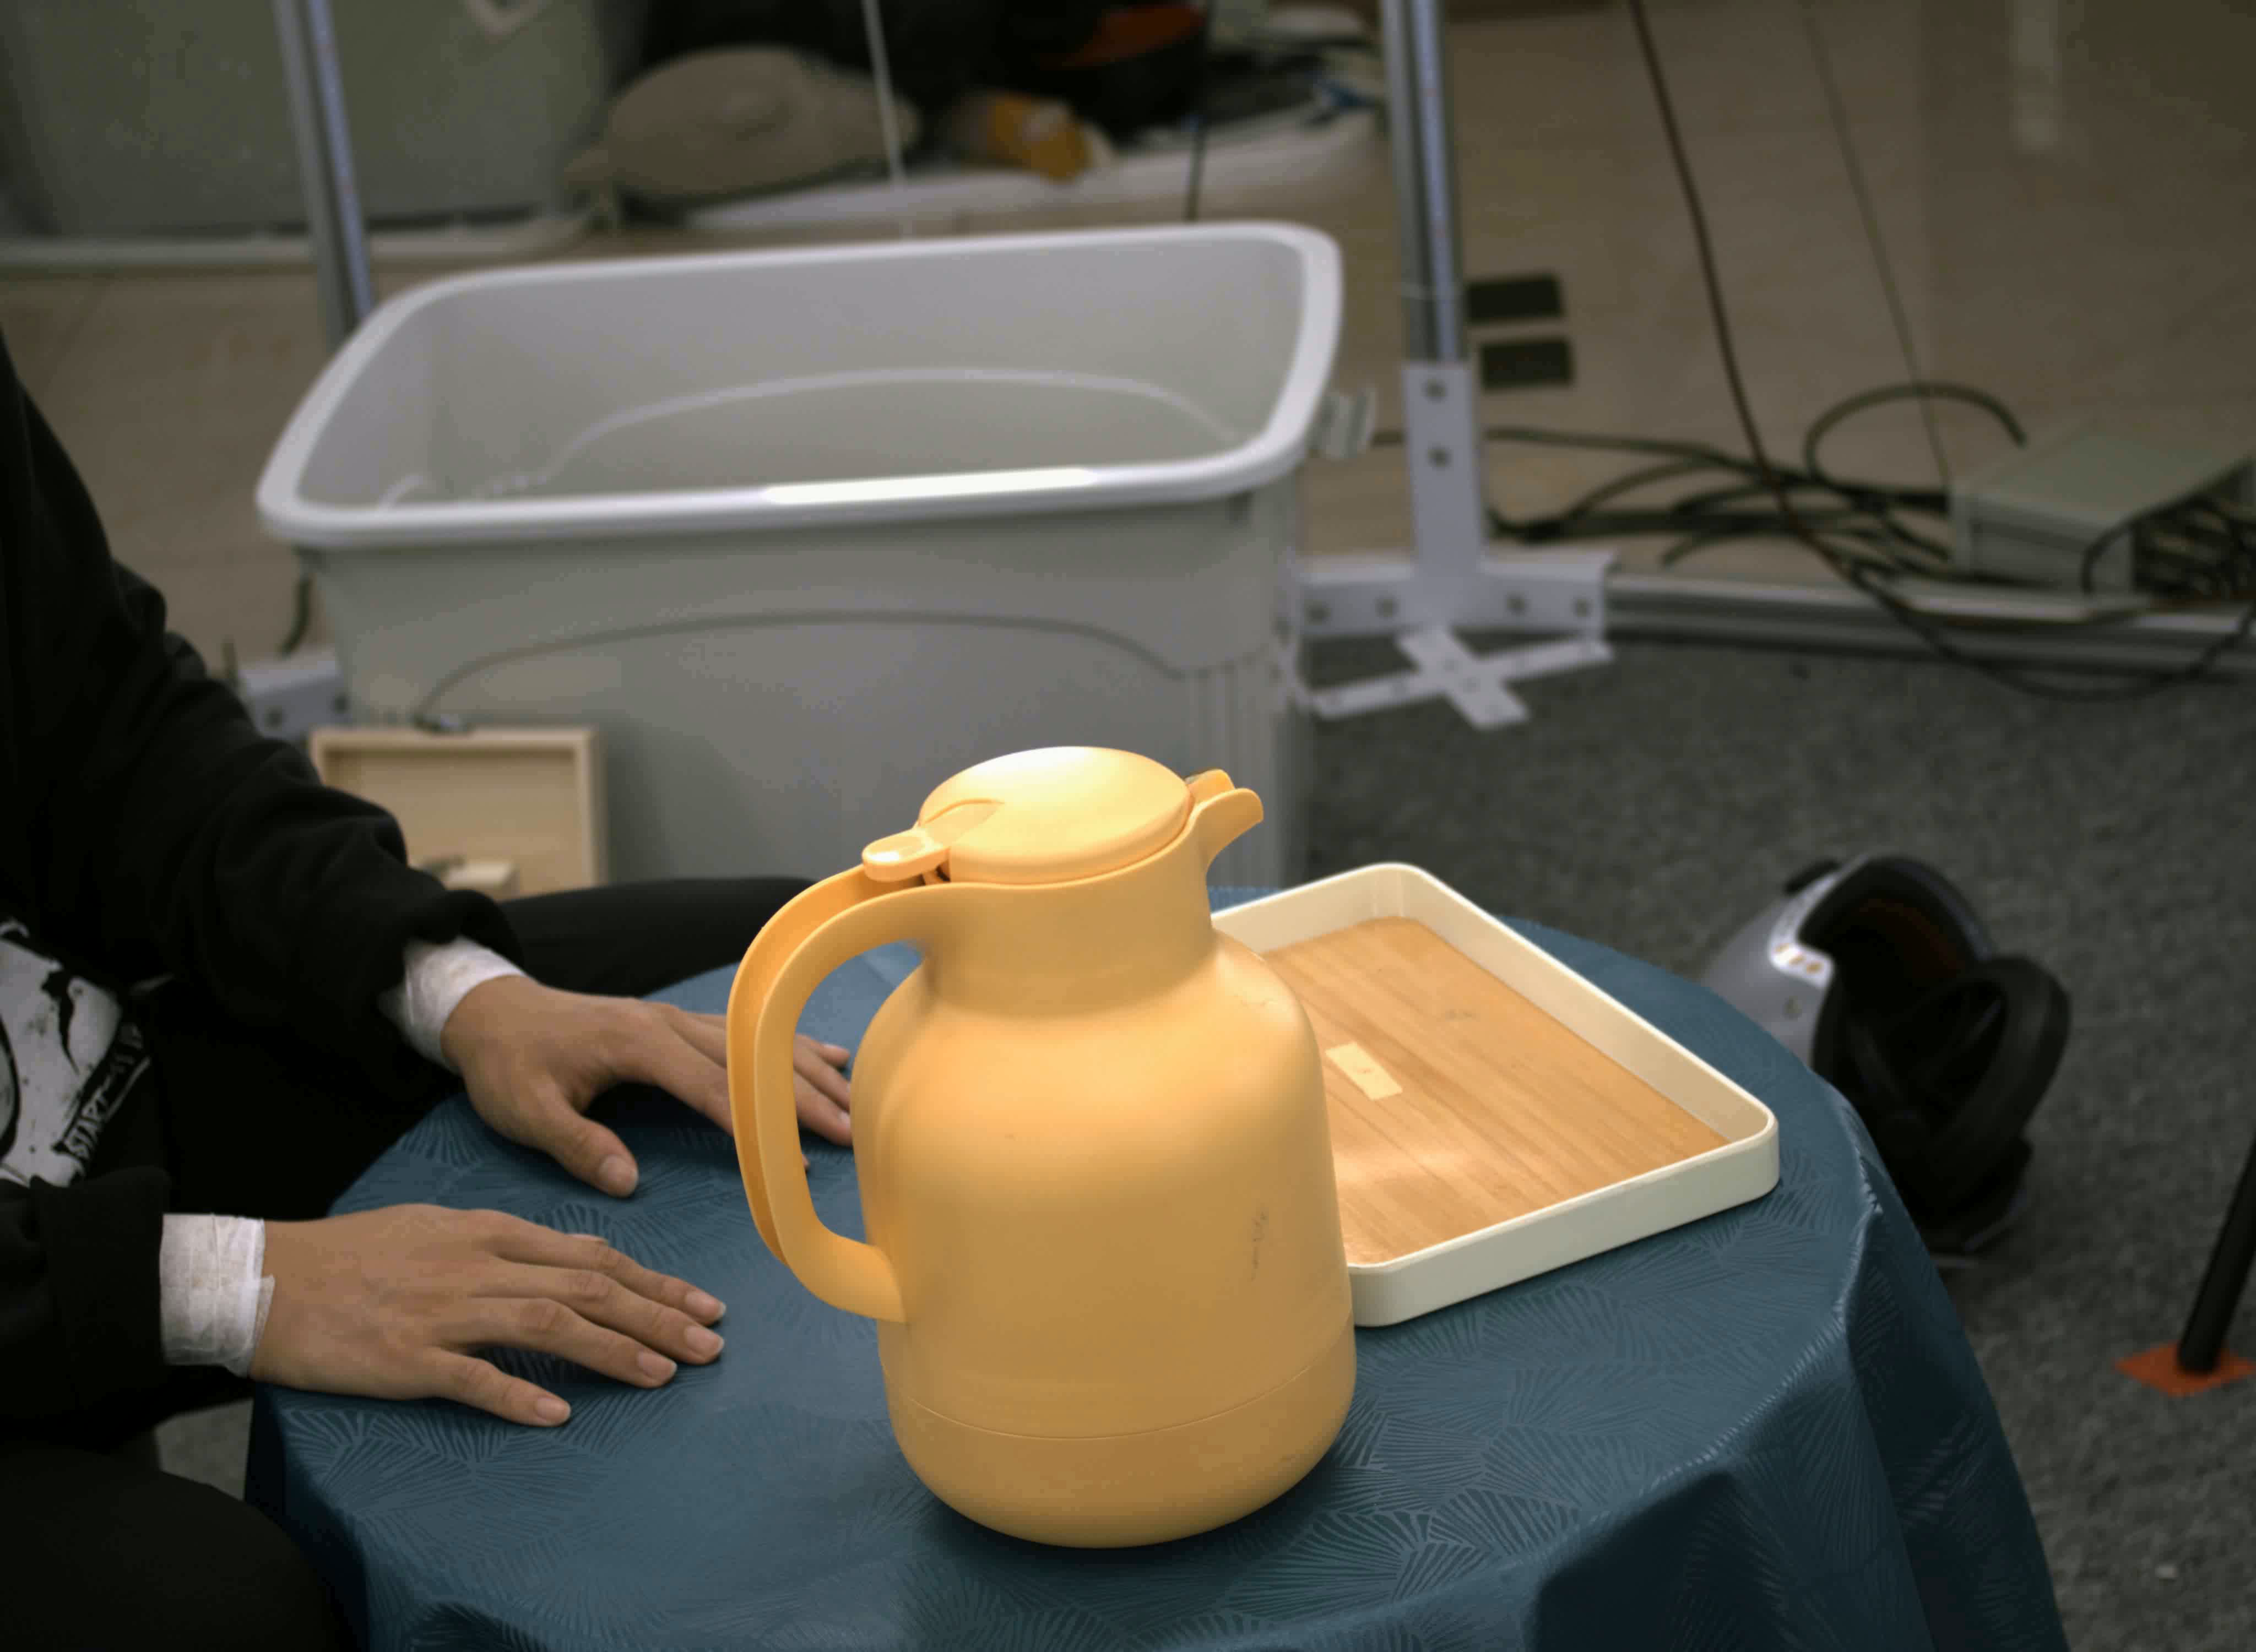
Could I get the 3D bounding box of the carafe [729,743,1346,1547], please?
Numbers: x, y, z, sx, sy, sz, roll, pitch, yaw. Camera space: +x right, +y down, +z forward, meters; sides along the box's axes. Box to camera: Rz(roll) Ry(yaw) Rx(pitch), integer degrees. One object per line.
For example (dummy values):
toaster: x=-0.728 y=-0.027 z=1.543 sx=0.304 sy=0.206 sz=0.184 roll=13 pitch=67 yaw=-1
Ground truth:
carafe: x=-0.032 y=0.107 z=1.911 sx=0.201 sy=0.264 sz=0.161 roll=-14 pitch=24 yaw=-19

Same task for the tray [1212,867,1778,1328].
tray: x=0.096 y=0.099 z=2.181 sx=0.191 sy=0.028 sz=0.297 roll=-17 pitch=27 yaw=-21
